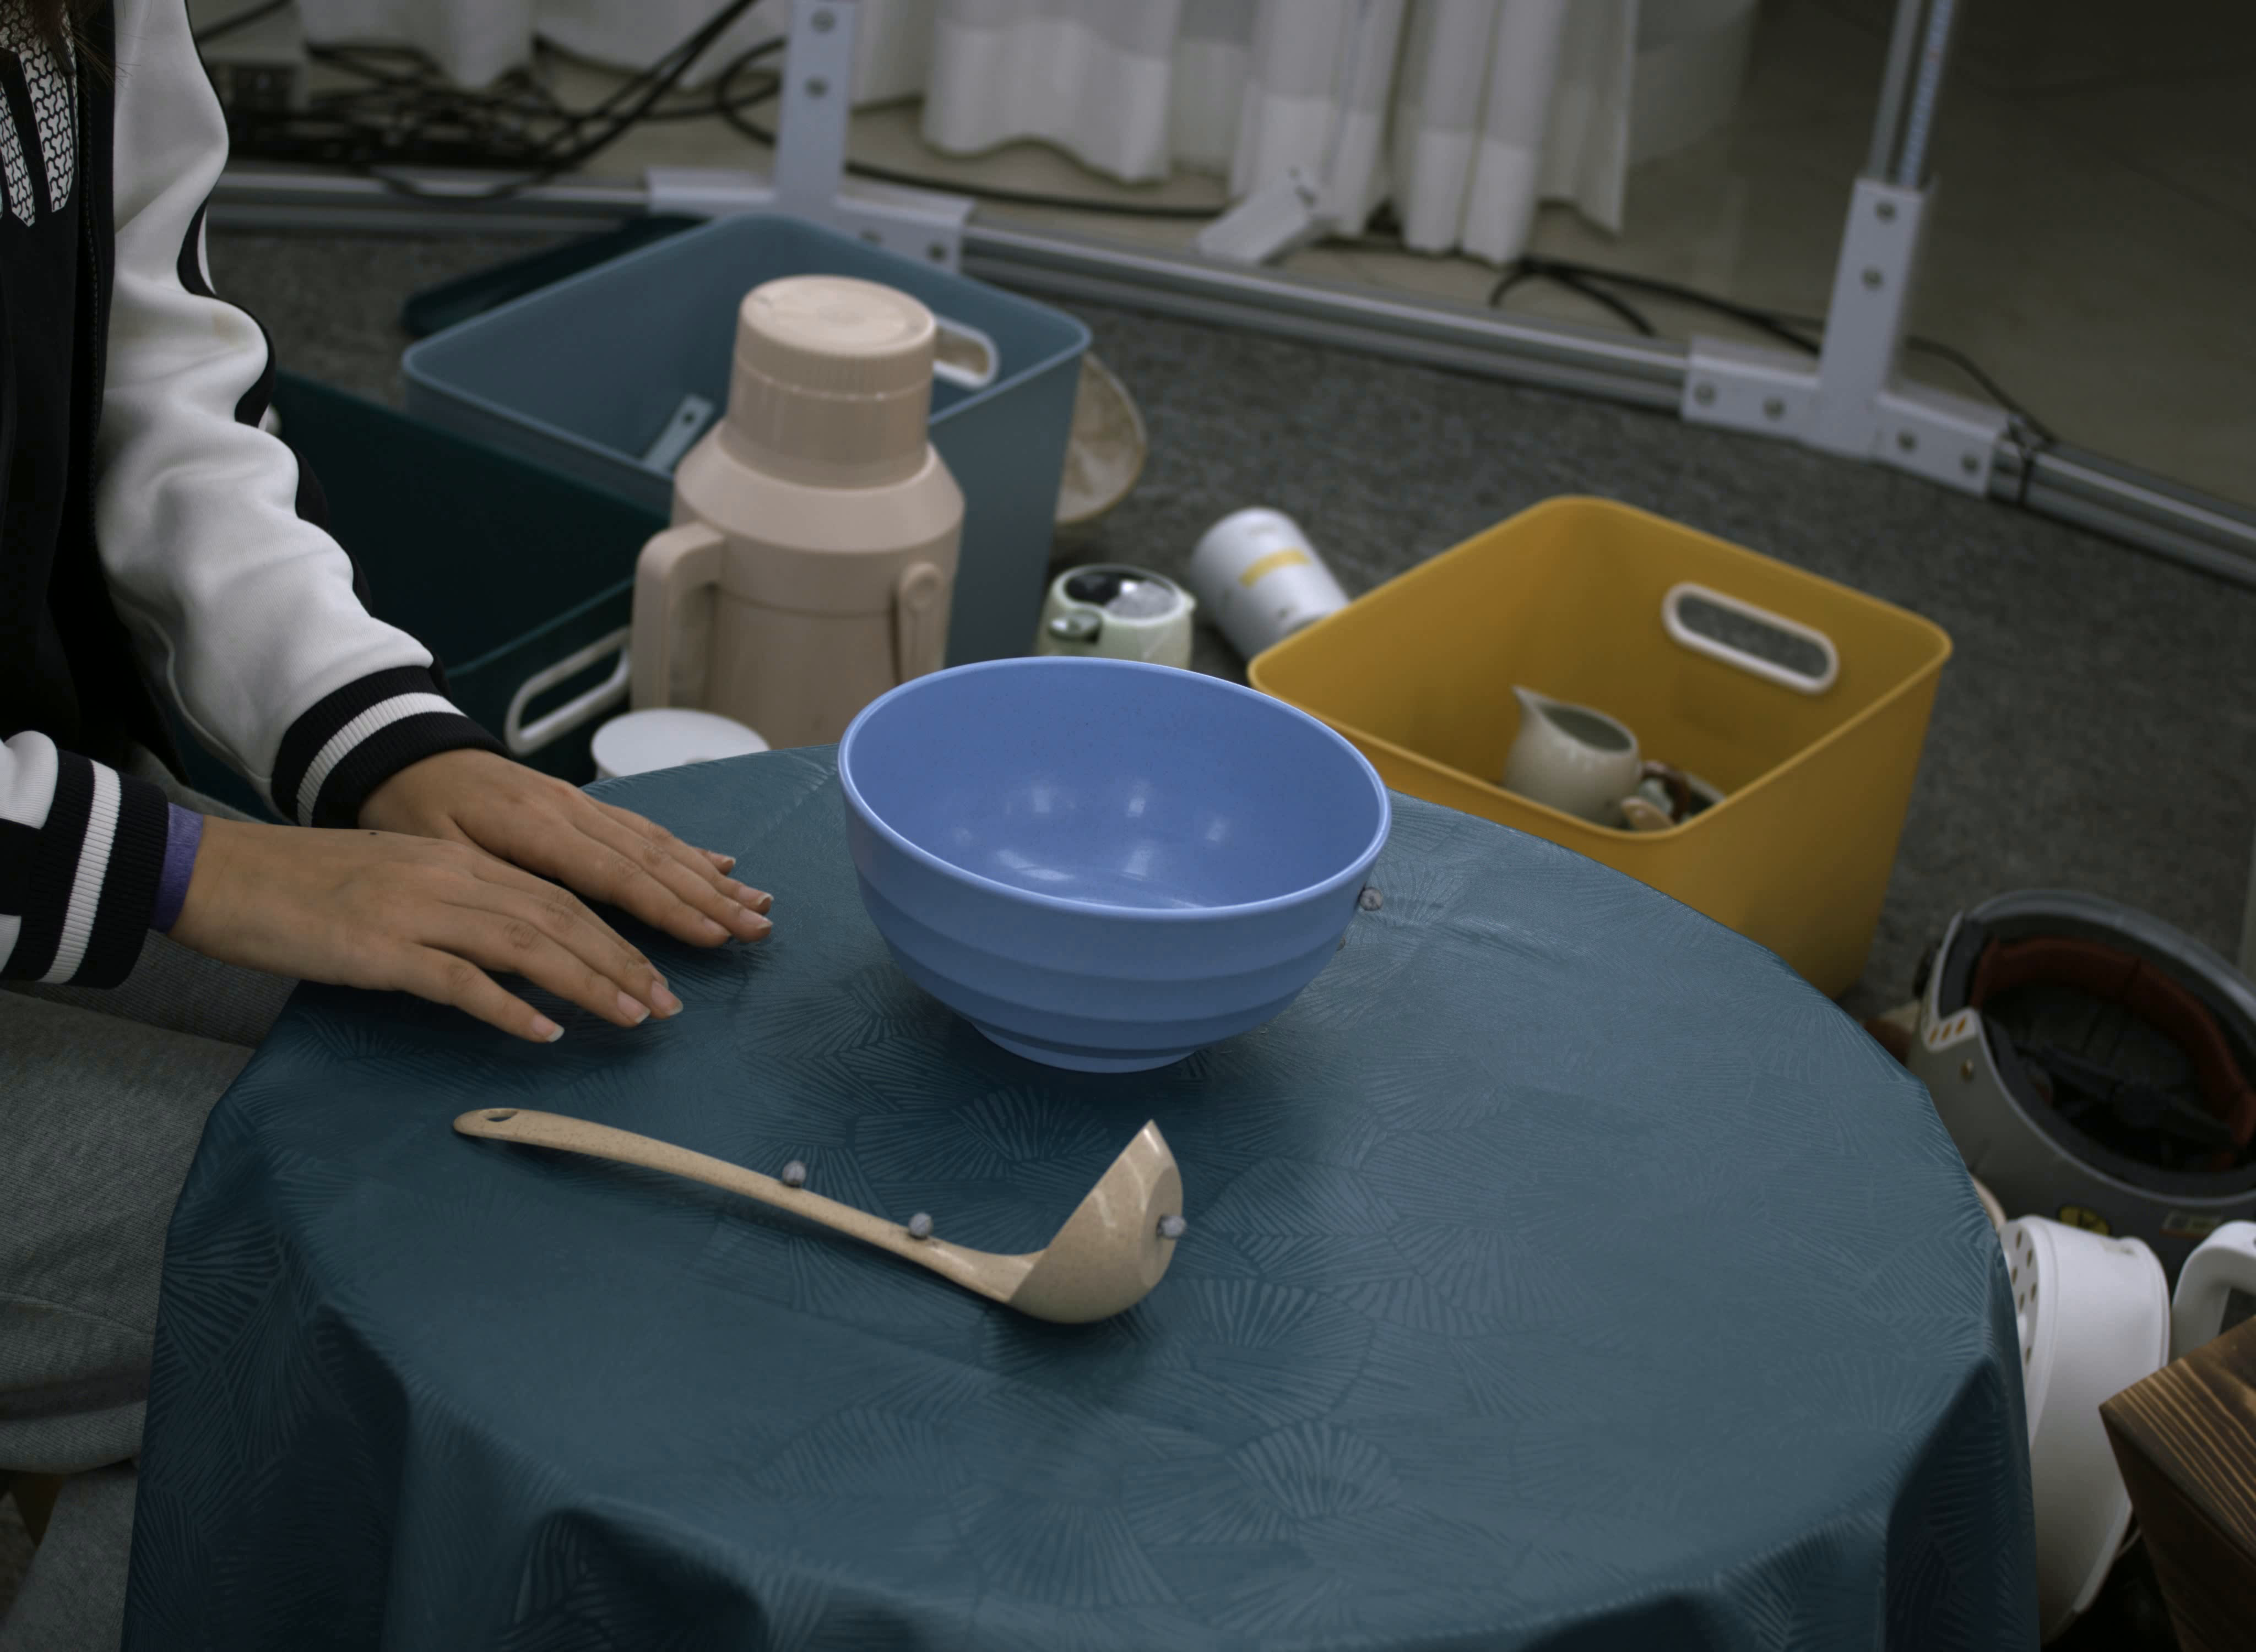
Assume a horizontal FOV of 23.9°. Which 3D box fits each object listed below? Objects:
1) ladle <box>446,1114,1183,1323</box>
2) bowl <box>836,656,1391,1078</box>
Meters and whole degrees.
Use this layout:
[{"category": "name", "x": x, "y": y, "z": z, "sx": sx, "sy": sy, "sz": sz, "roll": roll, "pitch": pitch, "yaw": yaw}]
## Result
[{"category": "ladle", "x": -0.106, "y": 0.101, "z": 1.741, "sx": 0.255, "sy": 0.072, "sz": 0.072, "roll": 14, "pitch": 27, "yaw": 15}, {"category": "bowl", "x": -0.009, "y": 0.026, "z": 1.892, "sx": 0.196, "sy": 0.095, "sz": 0.198, "roll": 5, "pitch": 28, "yaw": -3}]
